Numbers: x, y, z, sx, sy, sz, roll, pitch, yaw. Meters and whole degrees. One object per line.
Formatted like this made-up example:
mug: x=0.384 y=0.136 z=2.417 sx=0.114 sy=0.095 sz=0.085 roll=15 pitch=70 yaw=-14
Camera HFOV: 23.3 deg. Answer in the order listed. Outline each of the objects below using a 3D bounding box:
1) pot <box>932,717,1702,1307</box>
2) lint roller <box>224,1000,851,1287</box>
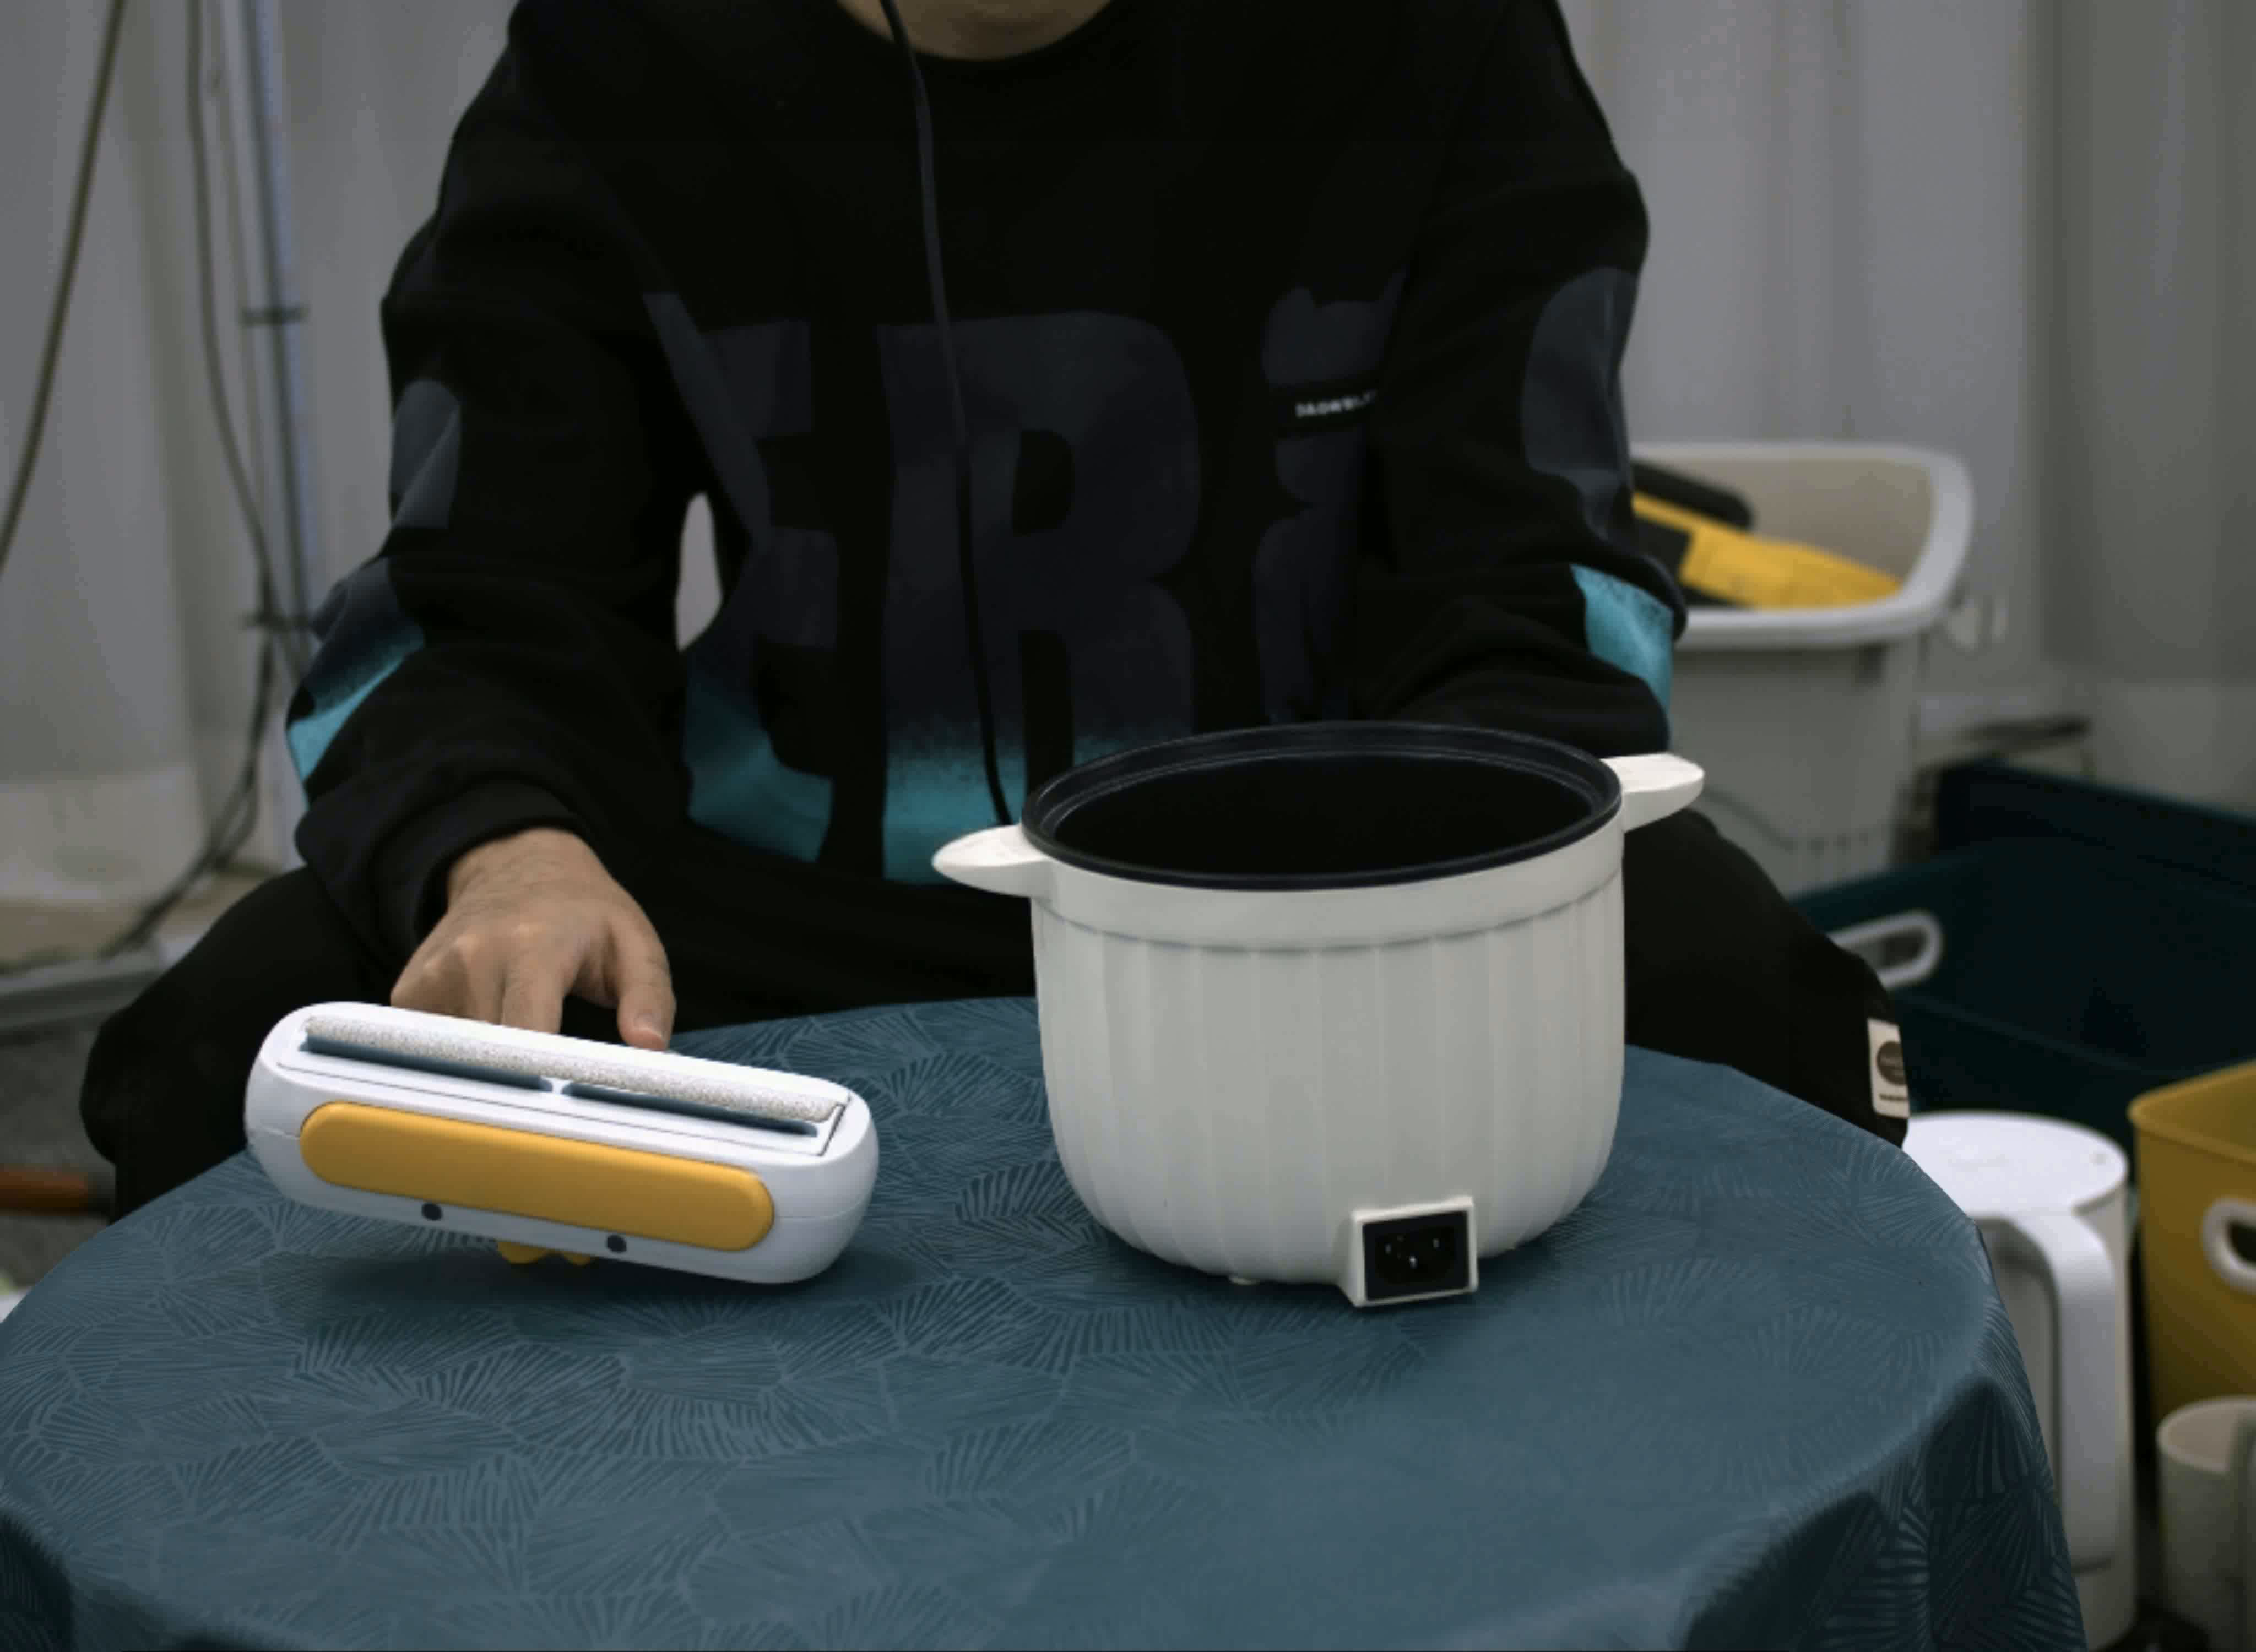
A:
pot: x=0.059 y=0.053 z=1.663 sx=0.239 sy=0.142 sz=0.192 roll=-5 pitch=17 yaw=-13
lint roller: x=-0.167 y=0.088 z=1.717 sx=0.192 sy=0.074 sz=0.193 roll=5 pitch=15 yaw=11
